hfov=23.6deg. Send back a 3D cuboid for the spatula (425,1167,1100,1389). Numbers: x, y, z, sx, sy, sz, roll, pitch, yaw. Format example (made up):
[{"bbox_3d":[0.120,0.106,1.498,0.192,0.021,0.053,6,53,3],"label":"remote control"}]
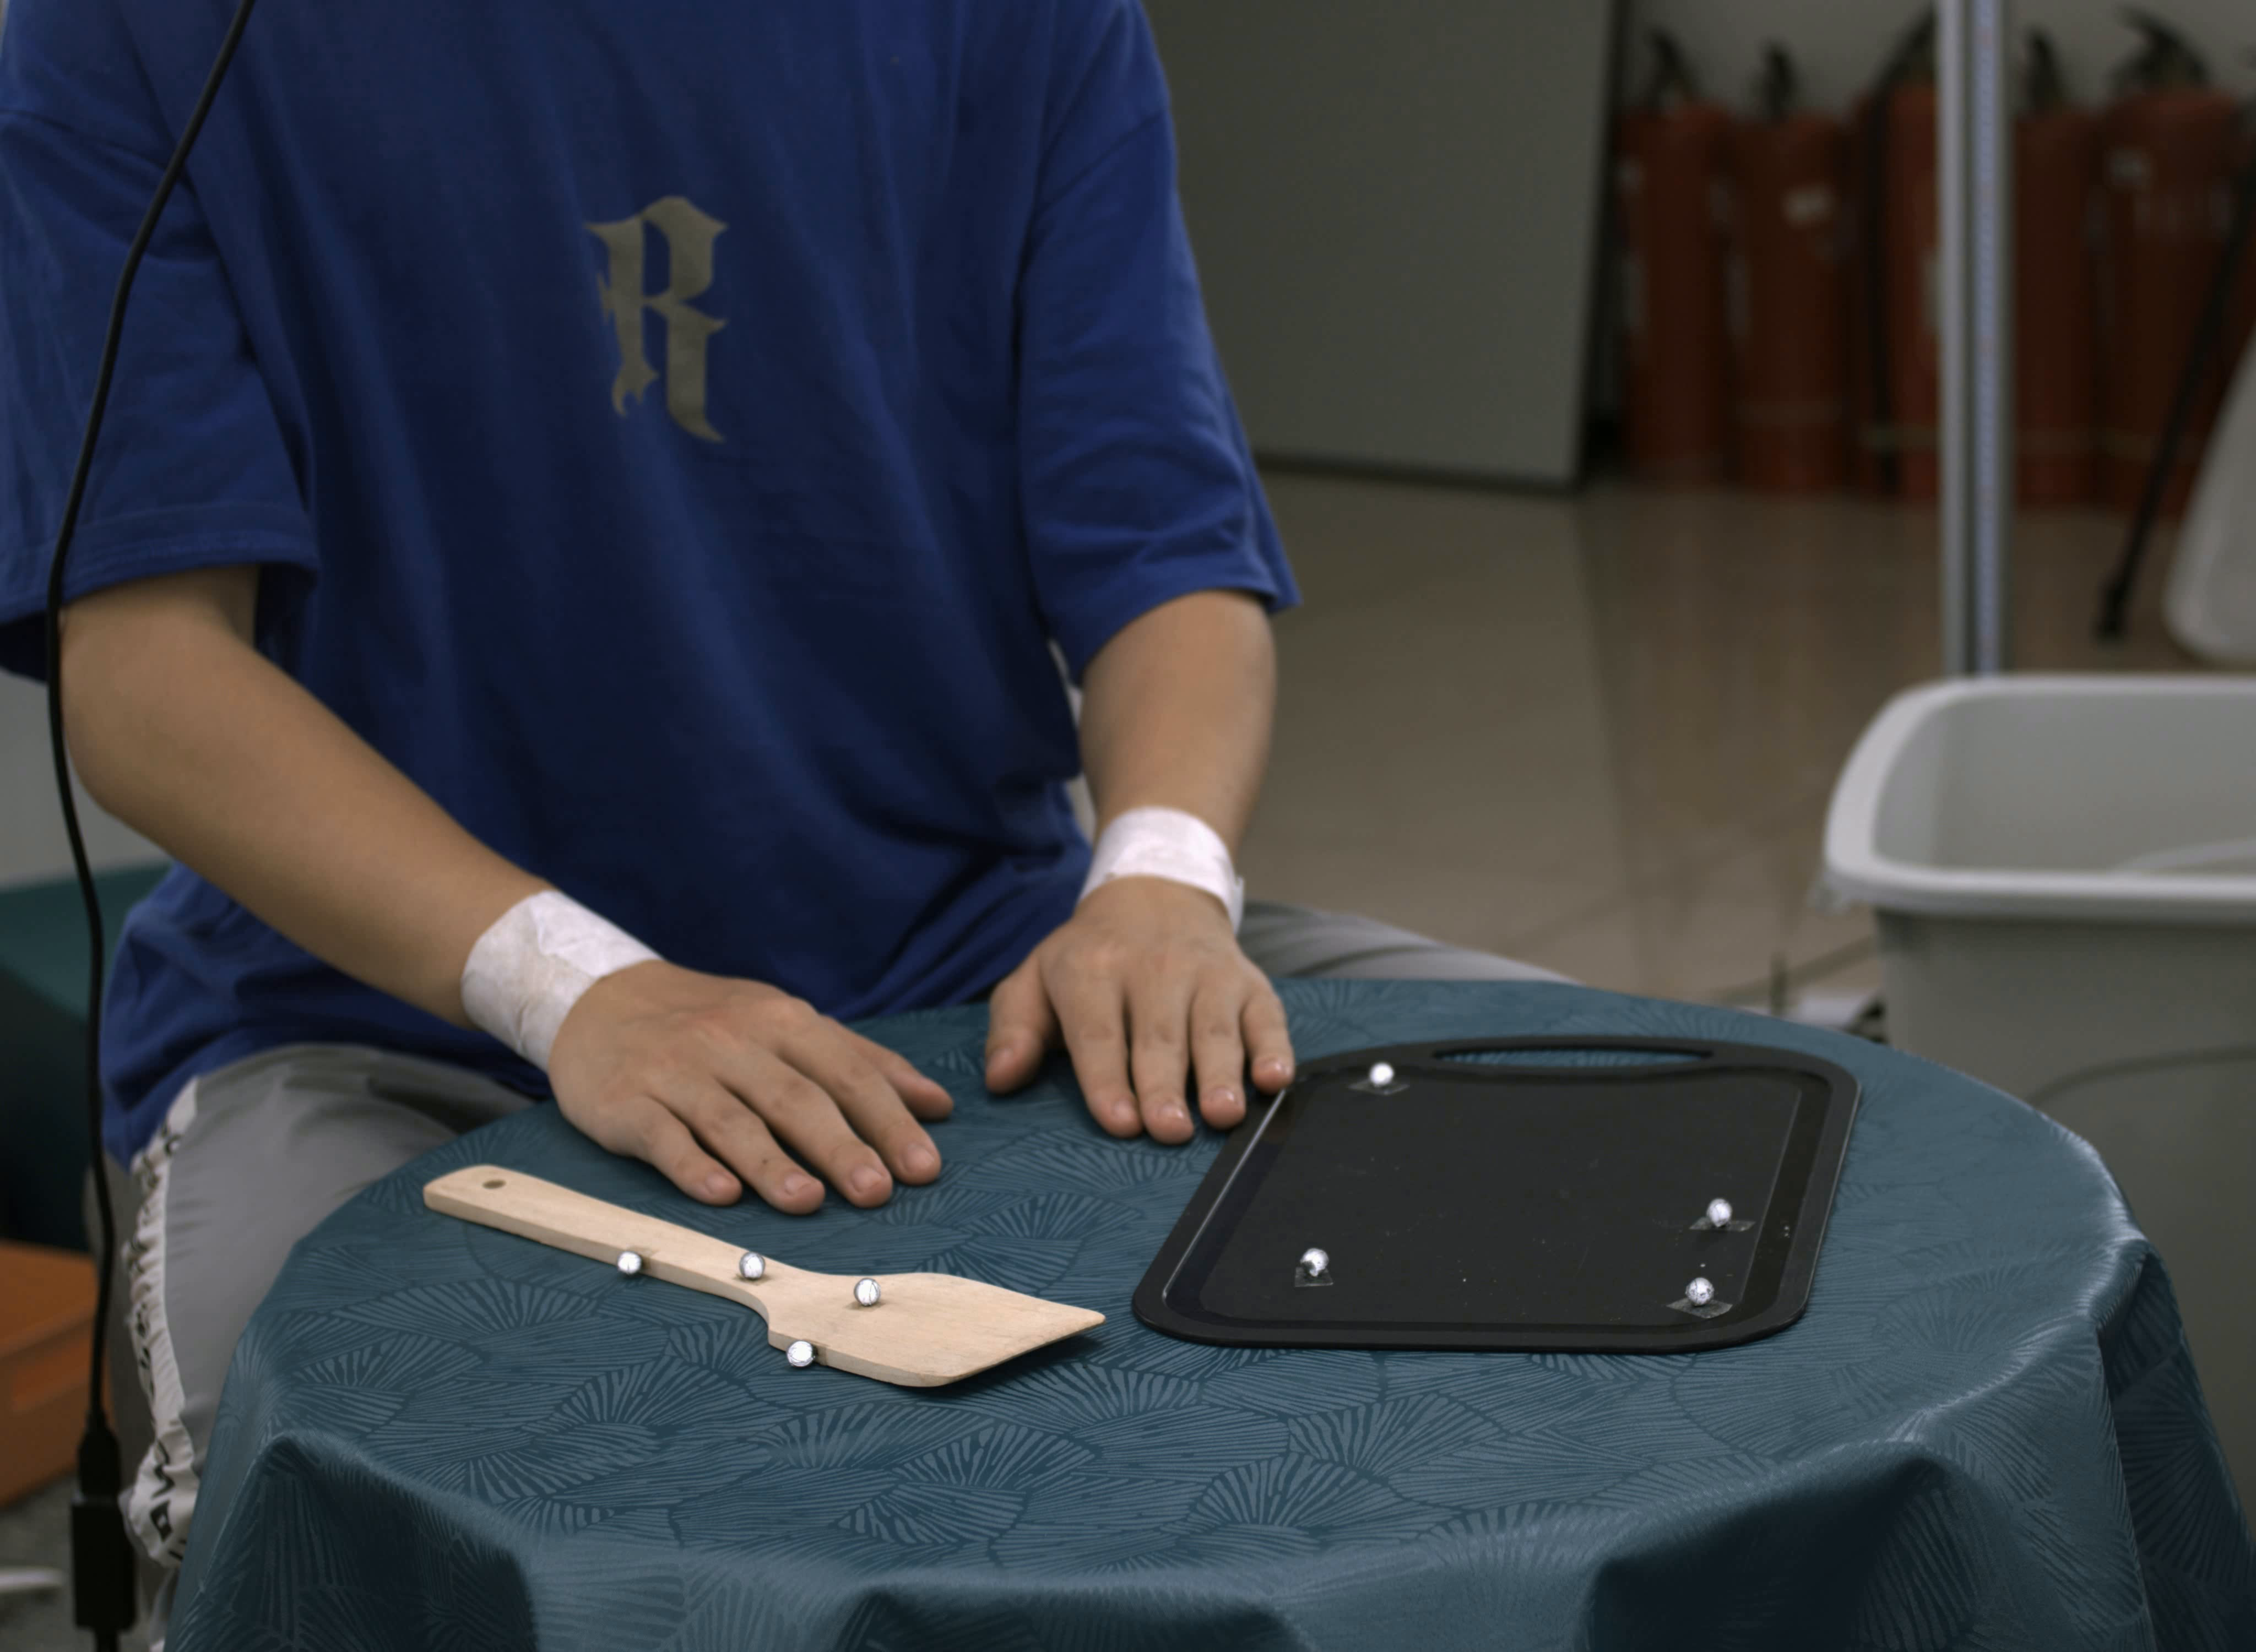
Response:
[{"bbox_3d":[-0.130,0.140,1.712,0.071,0.011,0.296,-18,19,-40],"label":"spatula"}]

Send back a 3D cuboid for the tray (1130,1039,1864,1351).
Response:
[{"bbox_3d":[0.127,0.114,1.751,0.210,0.010,0.323,-1,14,14],"label":"tray"}]
